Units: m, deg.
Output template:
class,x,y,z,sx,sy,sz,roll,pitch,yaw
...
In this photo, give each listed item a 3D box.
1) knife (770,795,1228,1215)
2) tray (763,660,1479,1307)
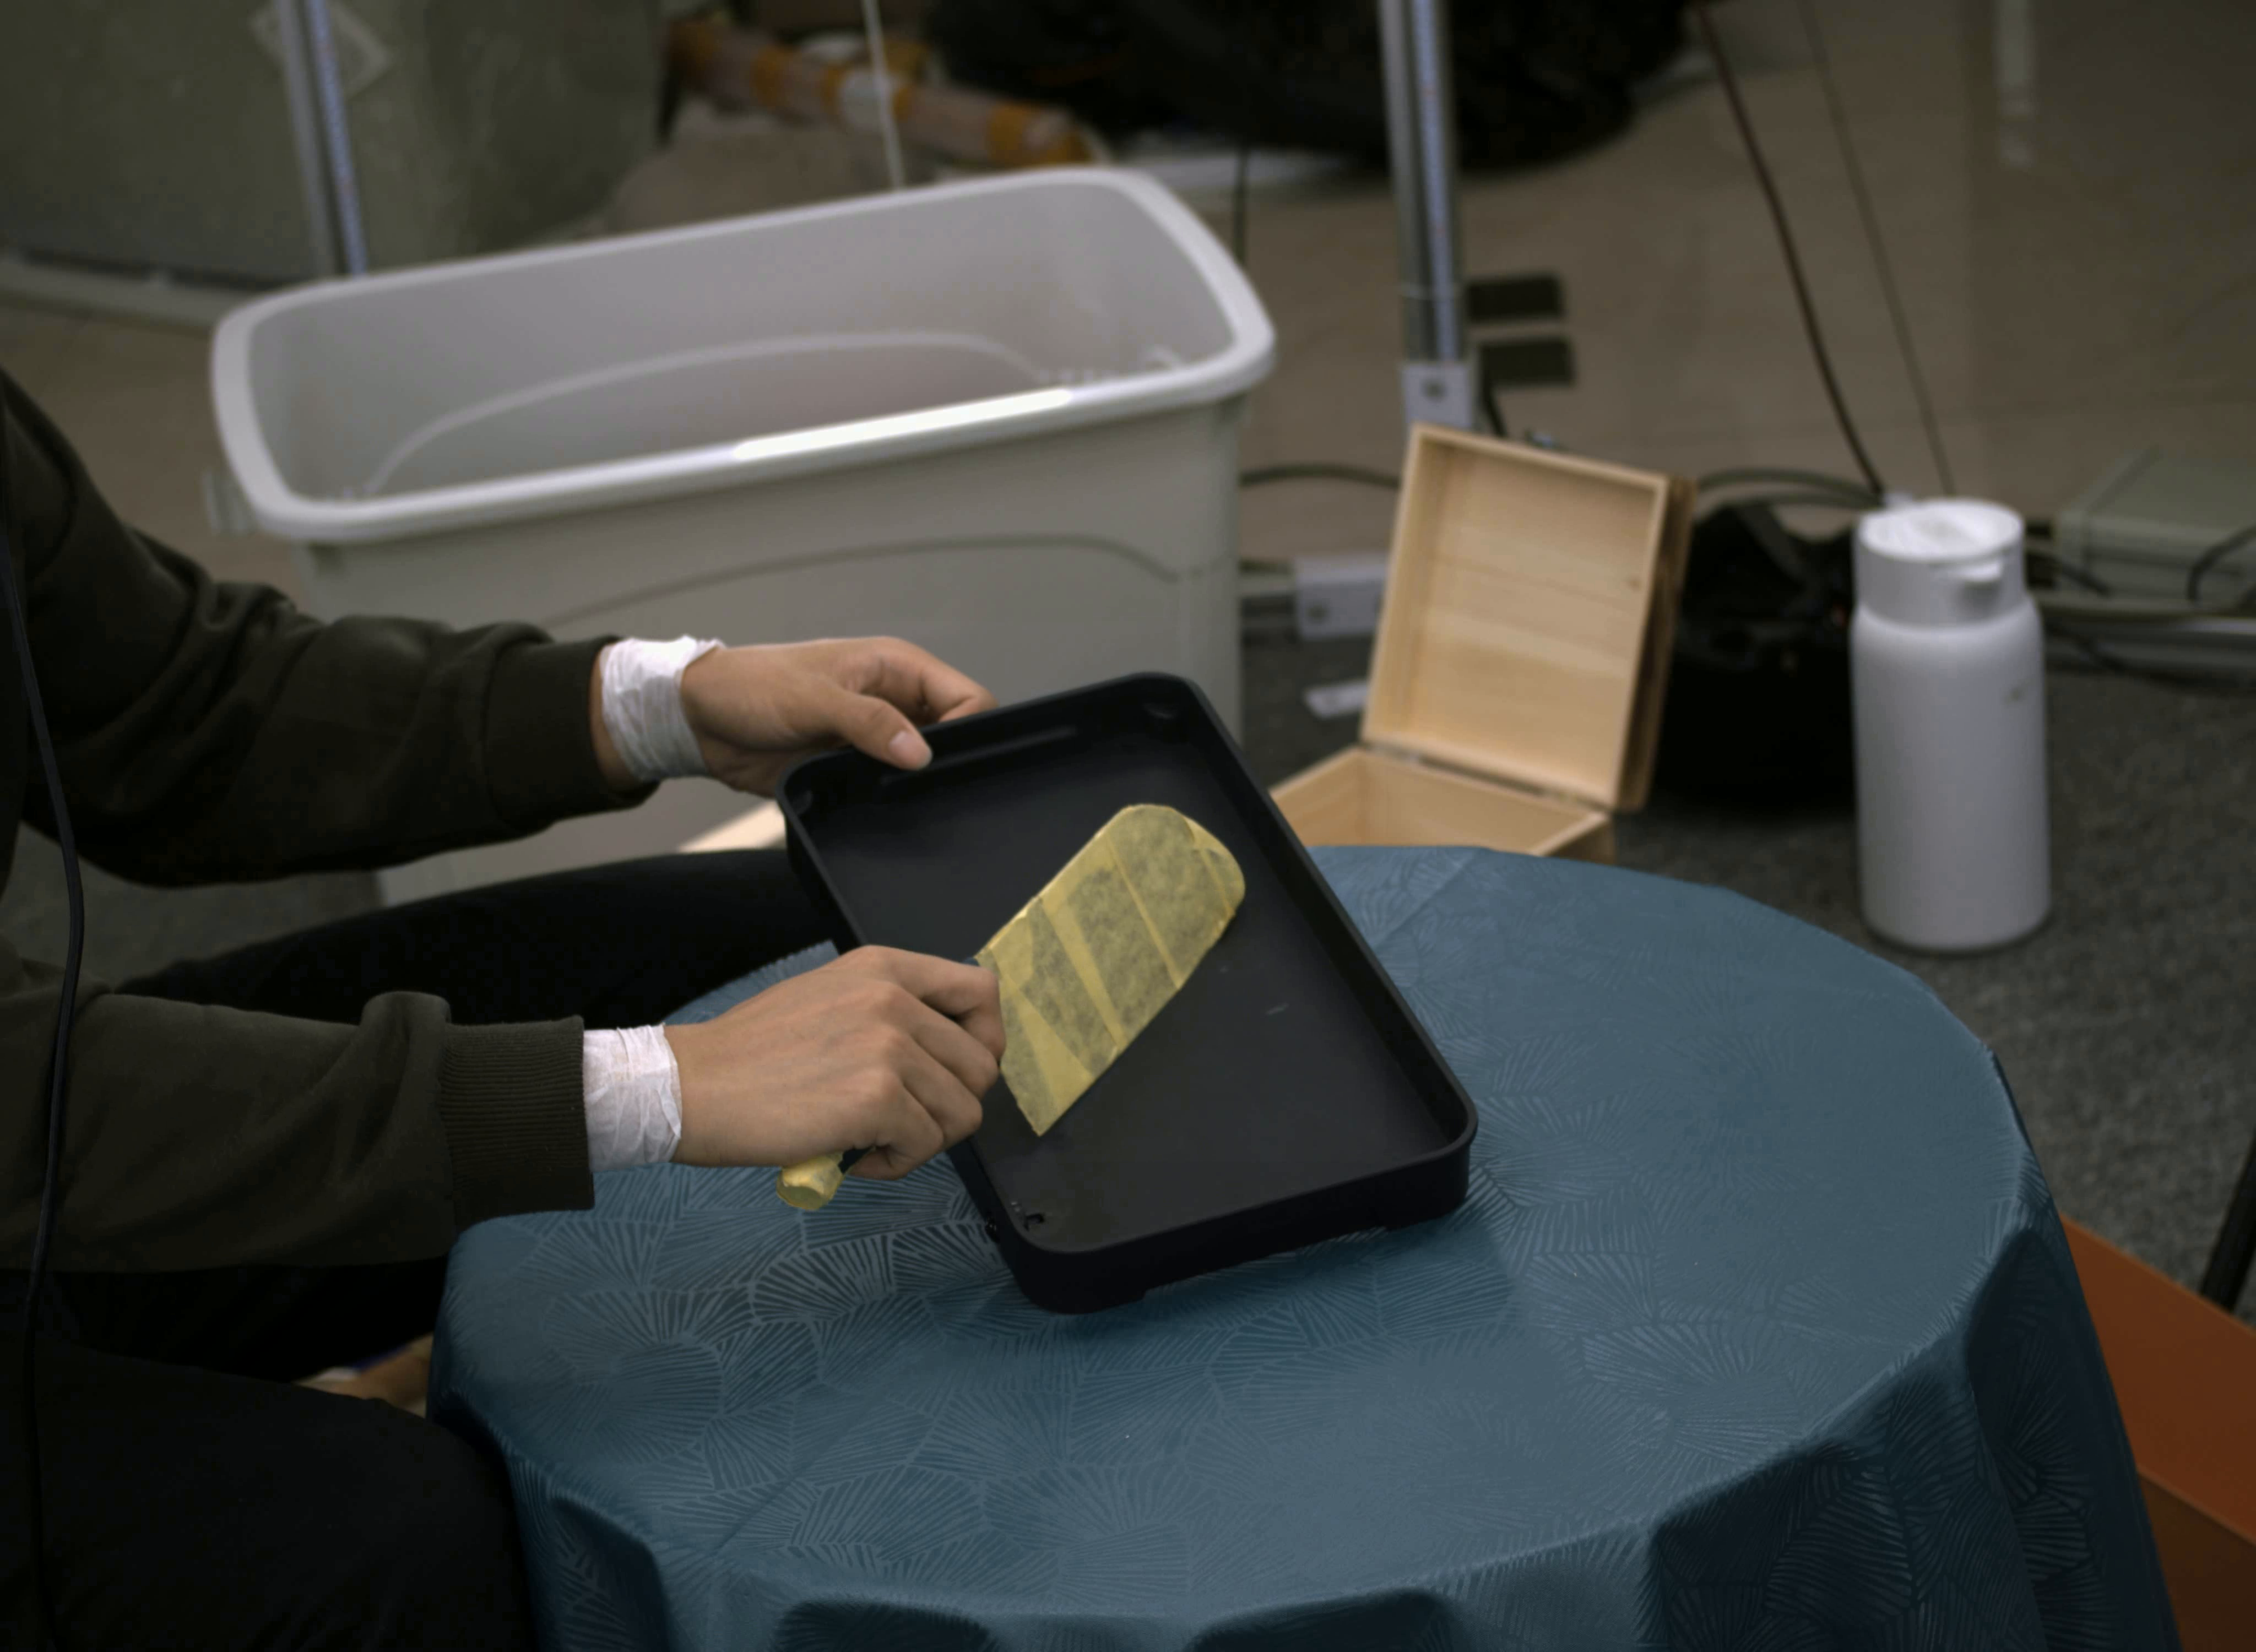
class,x,y,z,sx,sy,sz,roll,pitch,yaw
knife,-0.041,0.073,2.138,0.027,0.082,0.286,-11,22,43
tray,-0.007,0.055,2.193,0.183,0.038,0.313,-16,42,-16
